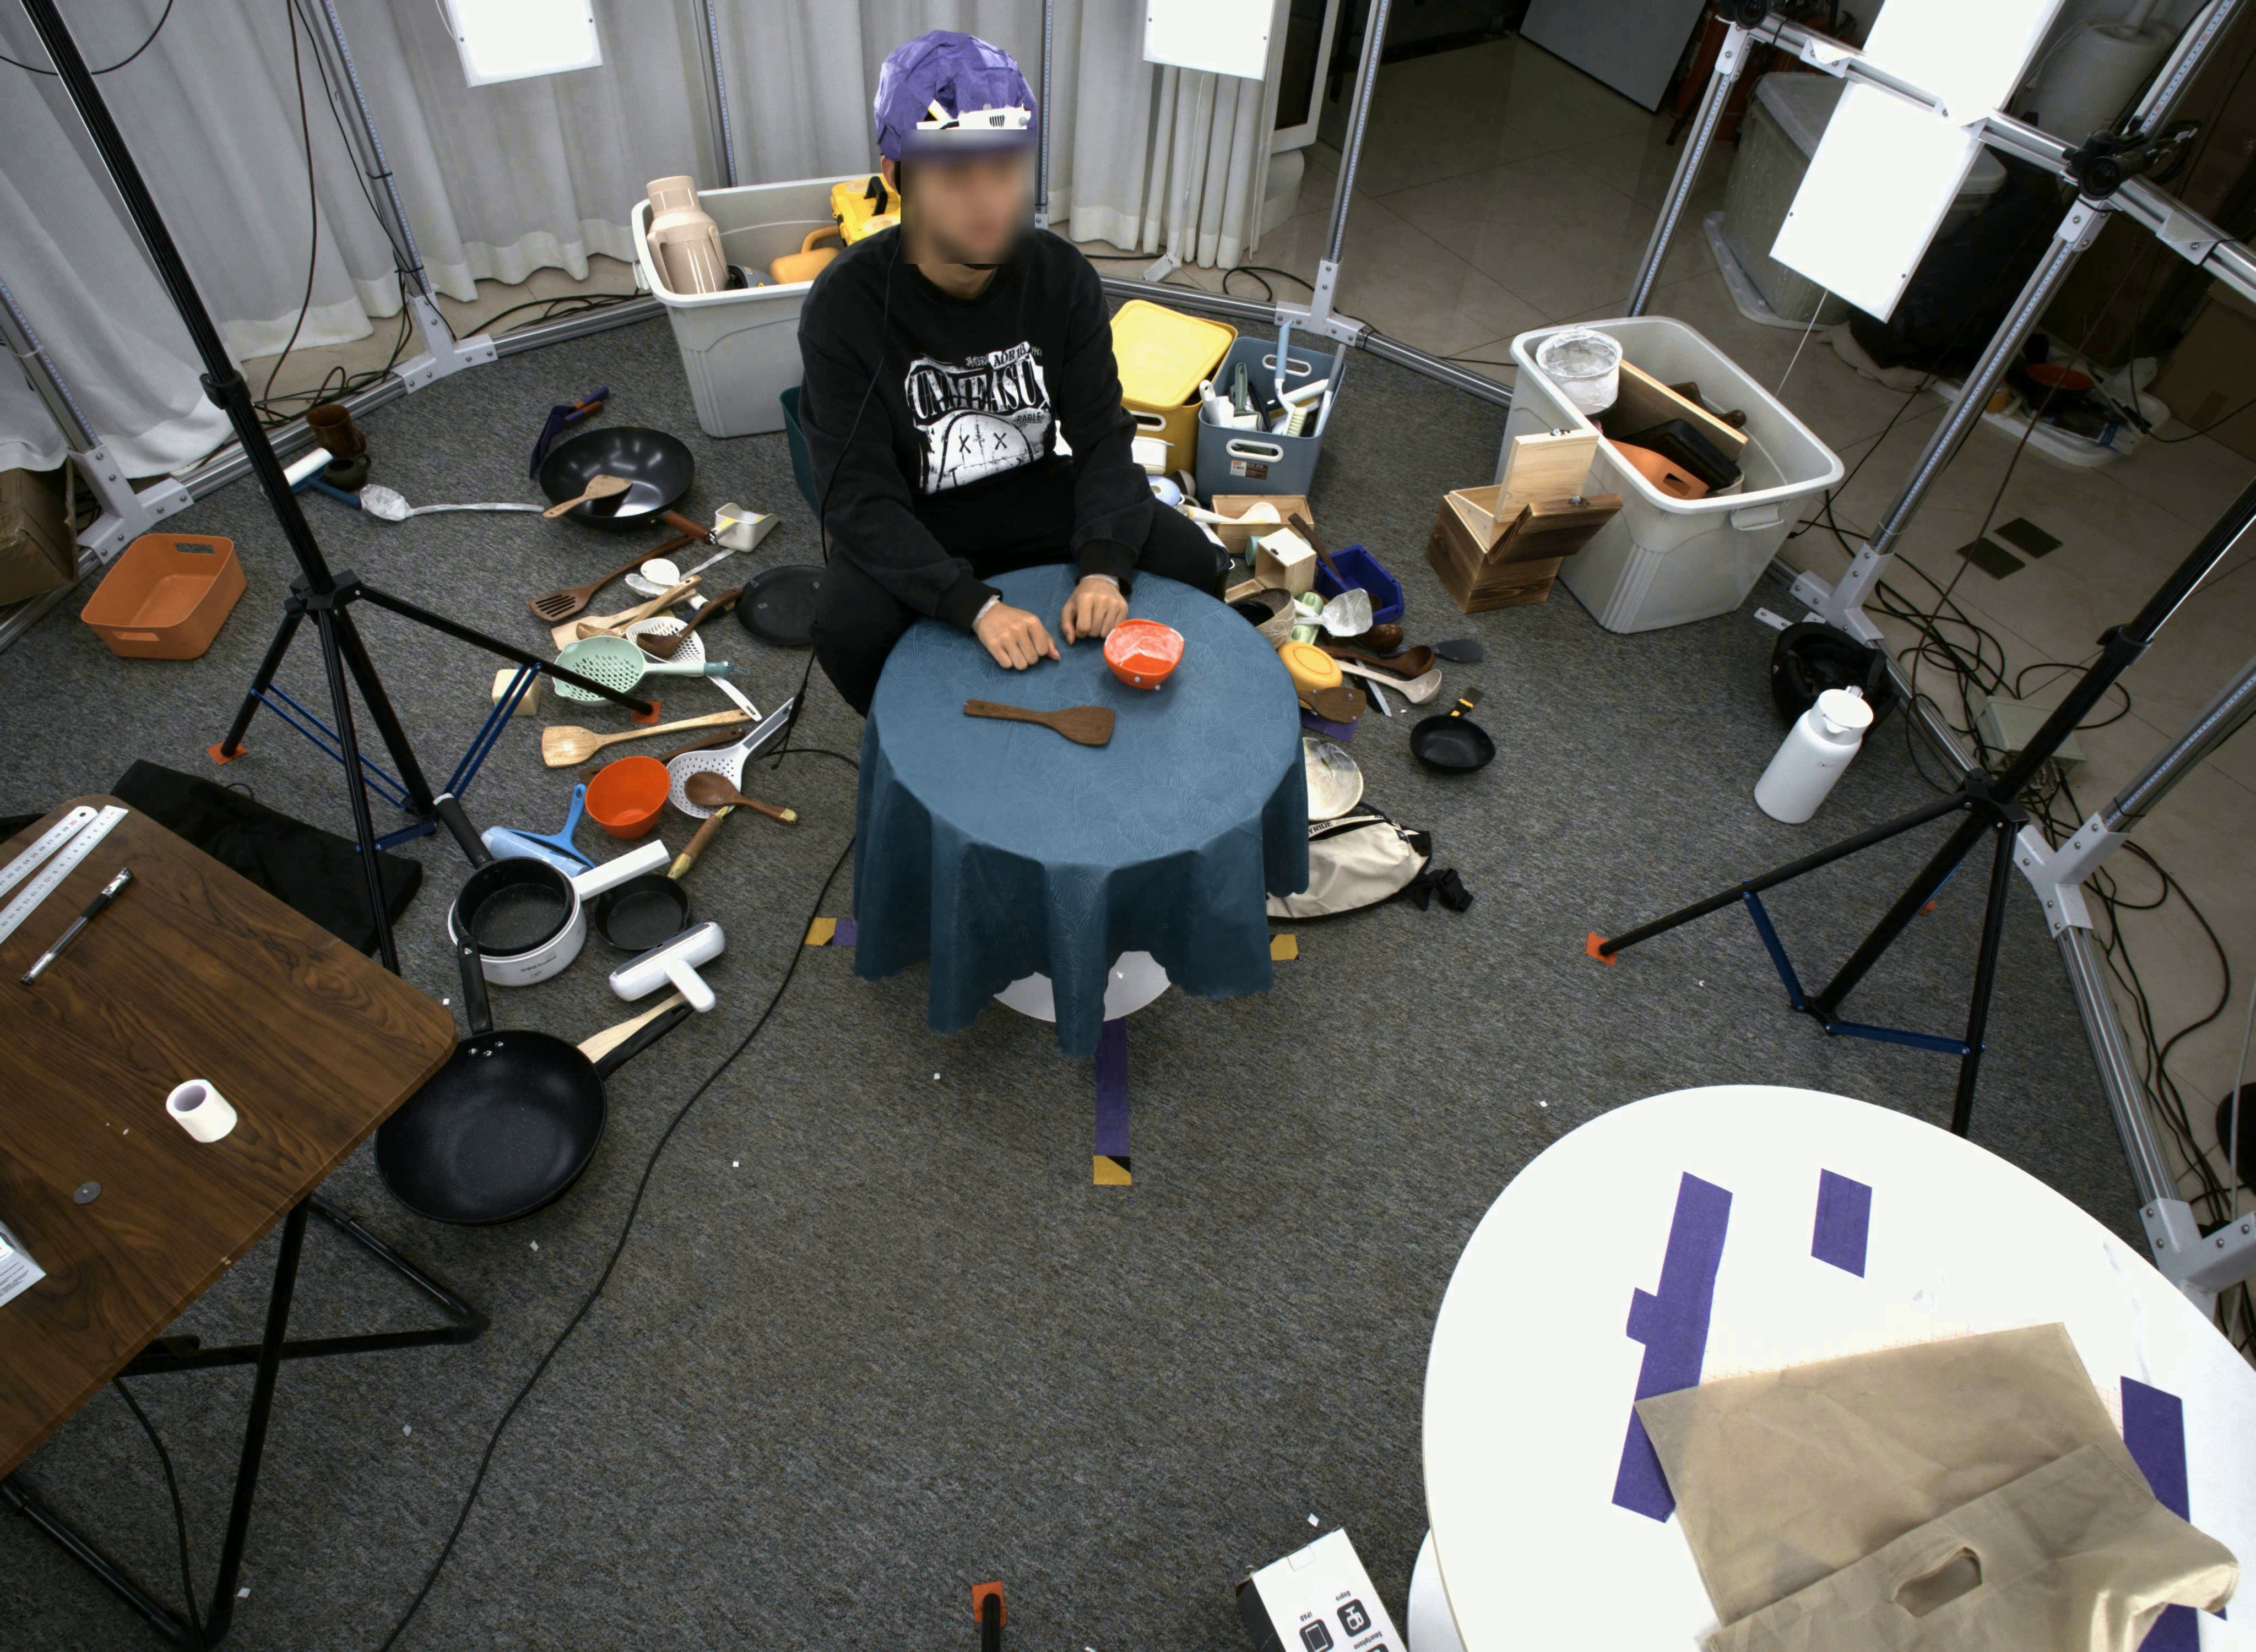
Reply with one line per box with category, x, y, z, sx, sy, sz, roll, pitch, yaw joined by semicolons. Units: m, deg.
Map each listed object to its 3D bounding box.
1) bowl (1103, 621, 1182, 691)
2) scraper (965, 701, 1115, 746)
bowl;0.020;-0.241;1.866;0.119;0.050;0.122;1;52;-2
scraper;-0.124;-0.151;1.802;0.211;0.010;0.077;9;48;5
